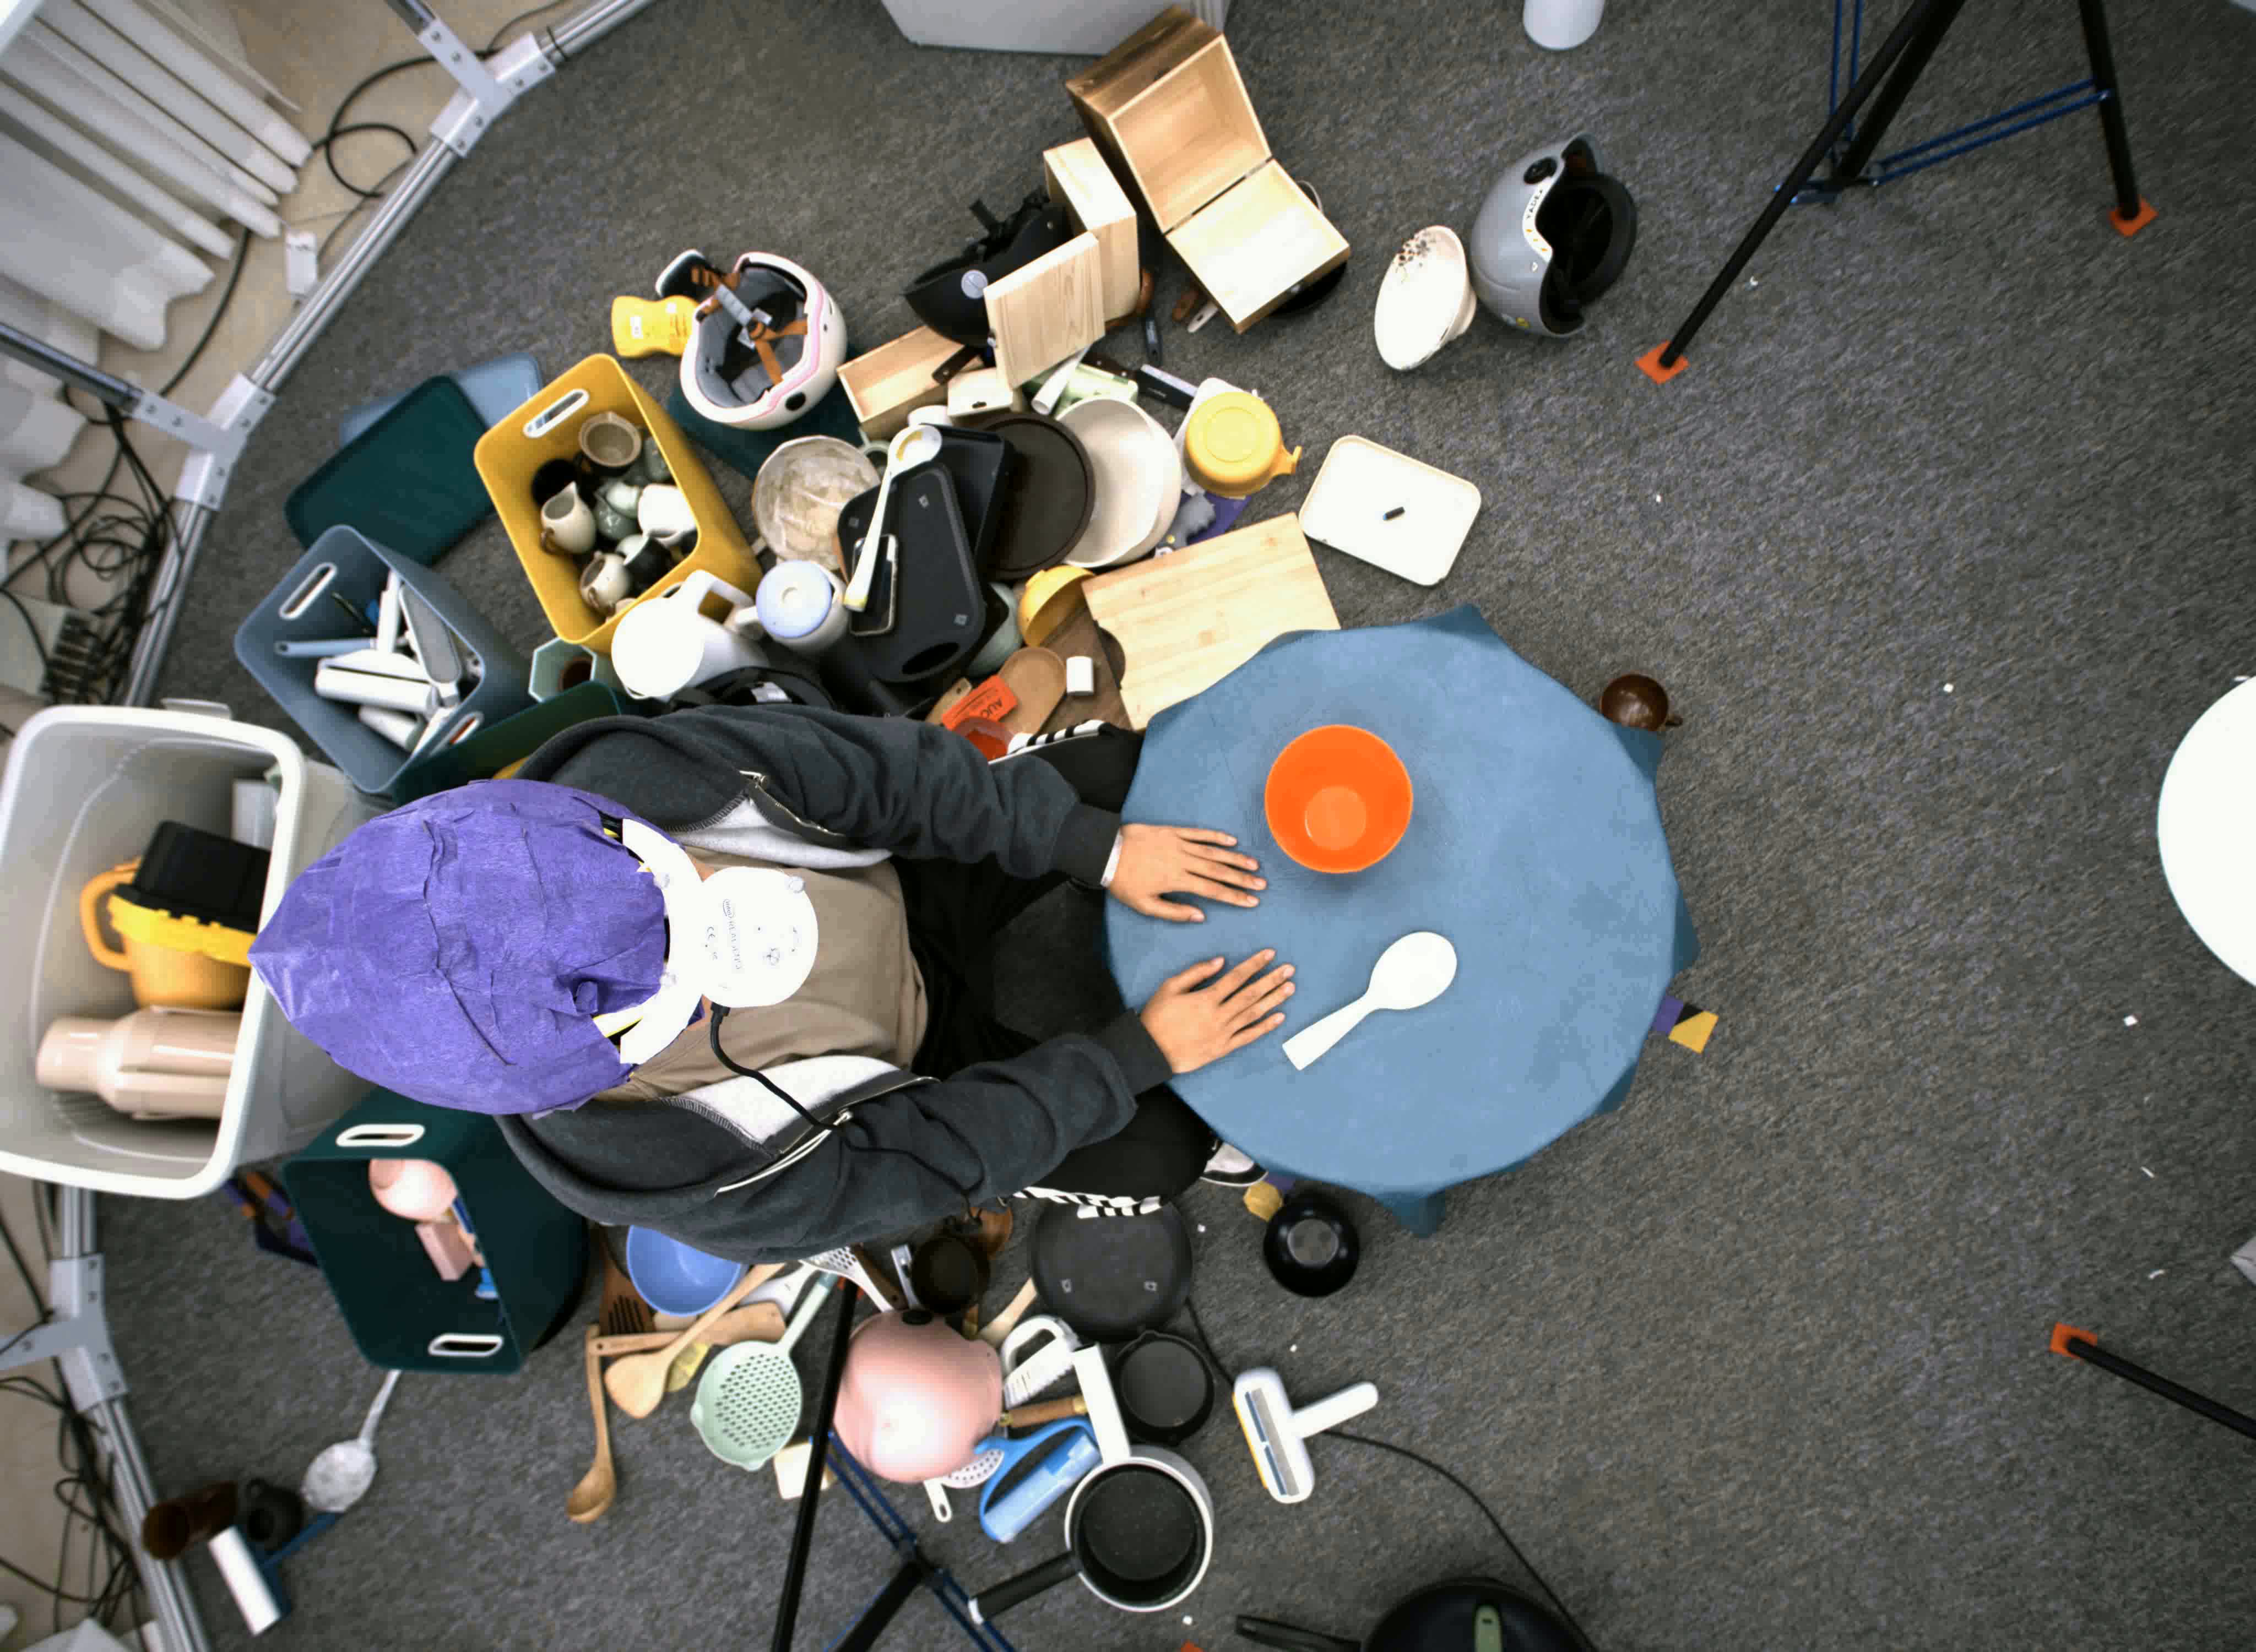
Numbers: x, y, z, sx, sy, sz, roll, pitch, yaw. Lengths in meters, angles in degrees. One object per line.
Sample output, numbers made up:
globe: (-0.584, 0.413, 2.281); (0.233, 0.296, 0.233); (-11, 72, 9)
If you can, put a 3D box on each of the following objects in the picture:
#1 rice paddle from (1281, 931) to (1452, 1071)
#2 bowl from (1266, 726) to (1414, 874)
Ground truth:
rice paddle: (0.250, 0.182, 1.442); (0.206, 0.029, 0.068); (-37, 82, 6)
bowl: (0.218, -0.023, 1.423); (0.148, 0.104, 0.147); (-1, 87, 10)
